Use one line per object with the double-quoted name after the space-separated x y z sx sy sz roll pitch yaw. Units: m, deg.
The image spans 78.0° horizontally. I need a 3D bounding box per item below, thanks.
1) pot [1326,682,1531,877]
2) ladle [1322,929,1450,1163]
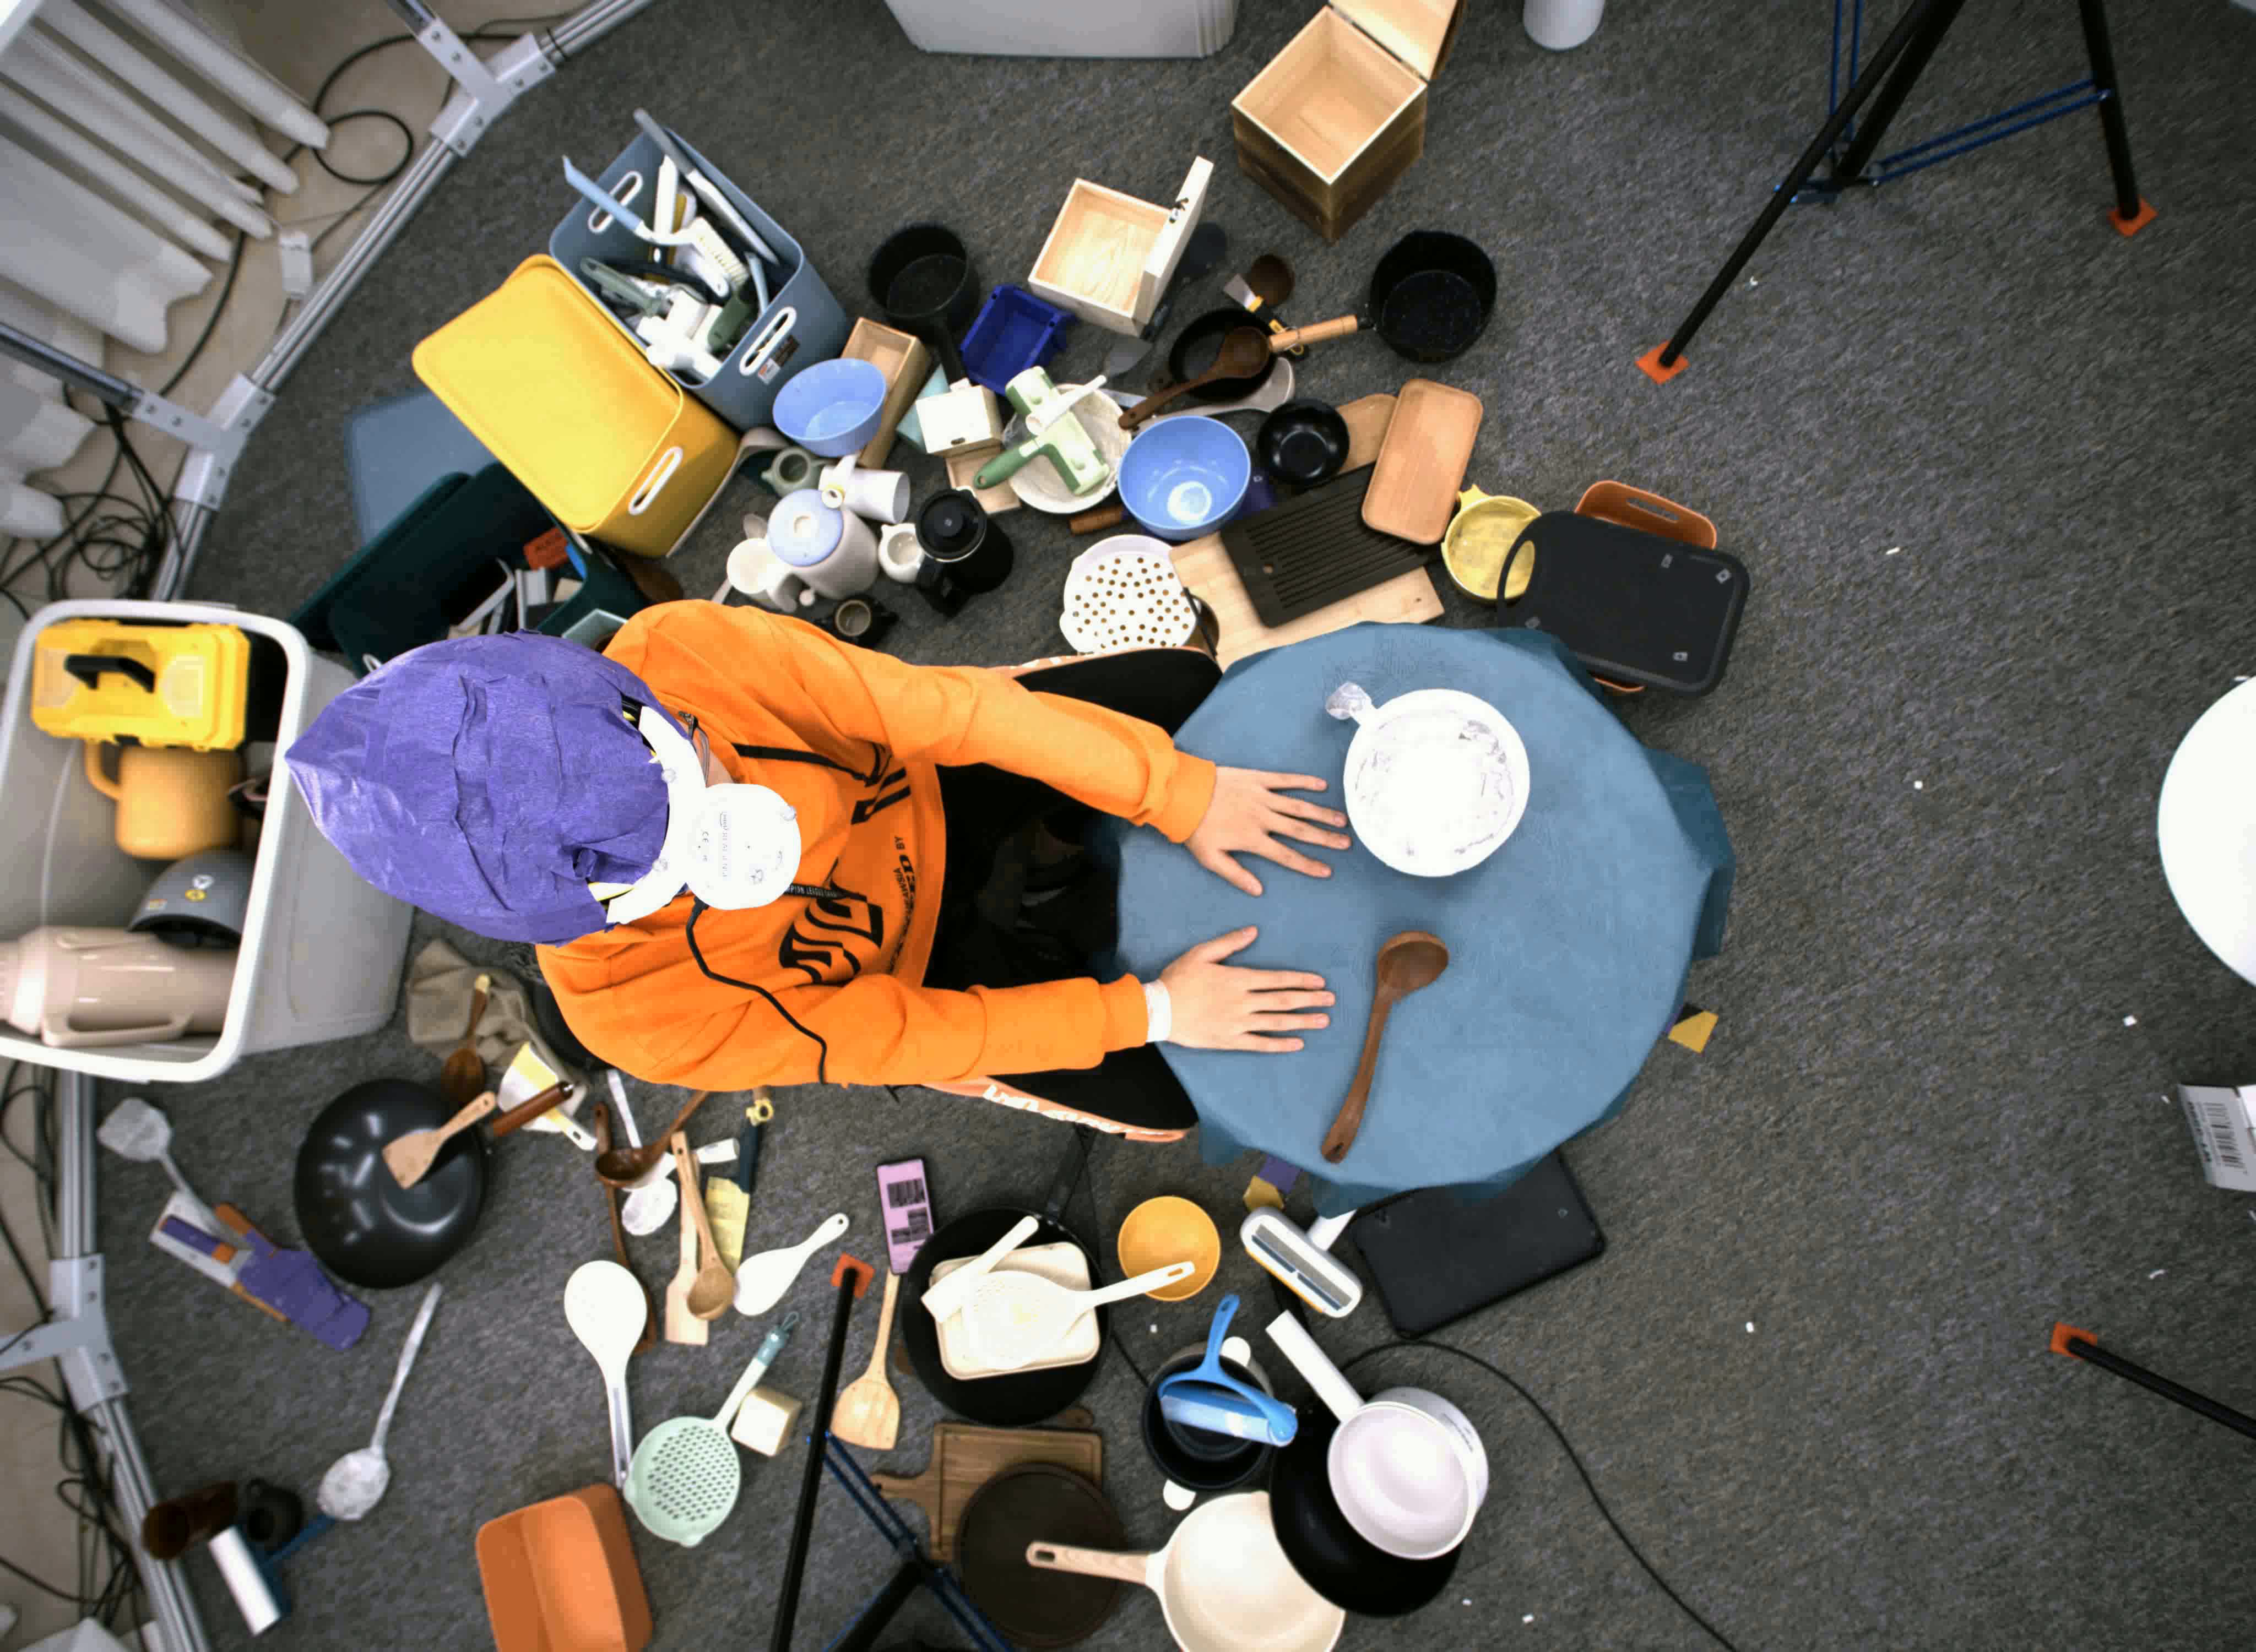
0.289 -0.060 1.393 0.179 0.137 0.232 -45 80 4 "pot"
0.260 0.228 1.423 0.076 0.065 0.260 20 90 -14 "ladle"
